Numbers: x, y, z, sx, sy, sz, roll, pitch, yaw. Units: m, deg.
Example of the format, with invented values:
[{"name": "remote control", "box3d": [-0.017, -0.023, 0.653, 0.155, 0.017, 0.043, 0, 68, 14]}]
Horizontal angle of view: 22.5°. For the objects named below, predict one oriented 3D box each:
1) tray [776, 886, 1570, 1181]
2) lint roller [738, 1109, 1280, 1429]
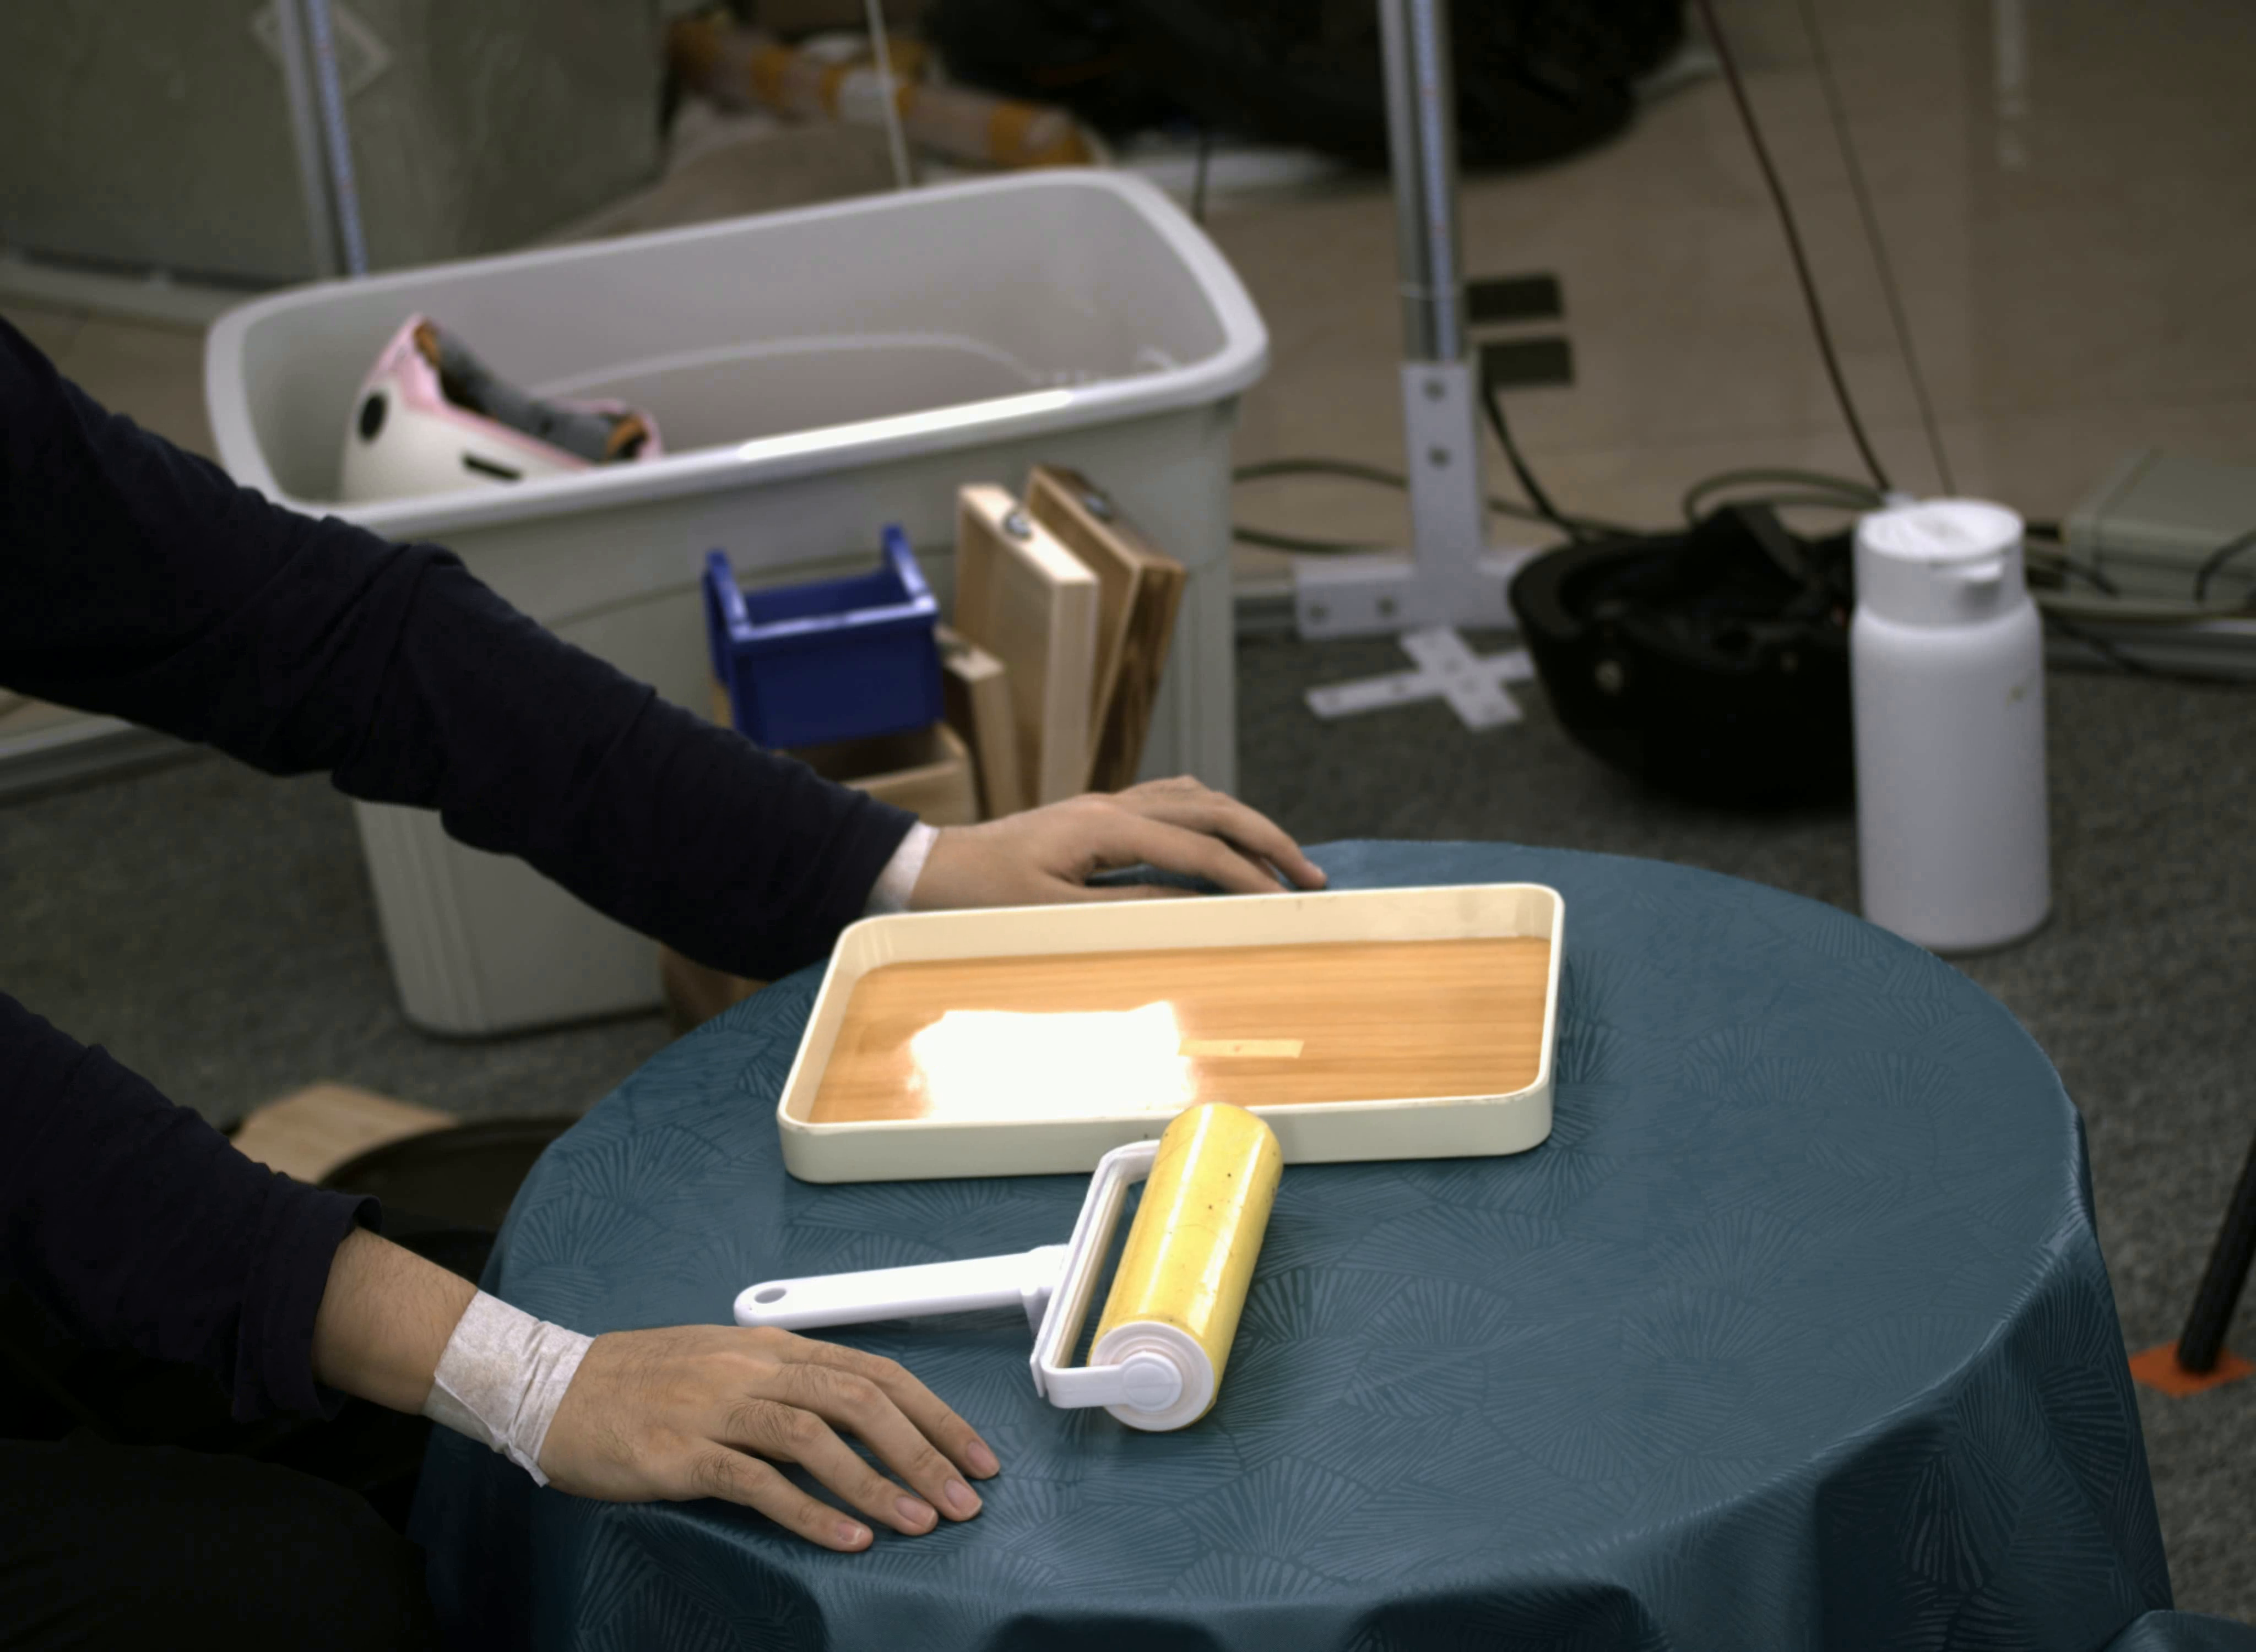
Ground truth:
[{"name": "tray", "box3d": [0.021, 0.081, 2.240, 0.300, 0.028, 0.189, -3, 24, 9]}, {"name": "lint roller", "box3d": [-0.049, 0.160, 2.060, 0.191, 0.052, 0.172, 1, 25, 8]}]
